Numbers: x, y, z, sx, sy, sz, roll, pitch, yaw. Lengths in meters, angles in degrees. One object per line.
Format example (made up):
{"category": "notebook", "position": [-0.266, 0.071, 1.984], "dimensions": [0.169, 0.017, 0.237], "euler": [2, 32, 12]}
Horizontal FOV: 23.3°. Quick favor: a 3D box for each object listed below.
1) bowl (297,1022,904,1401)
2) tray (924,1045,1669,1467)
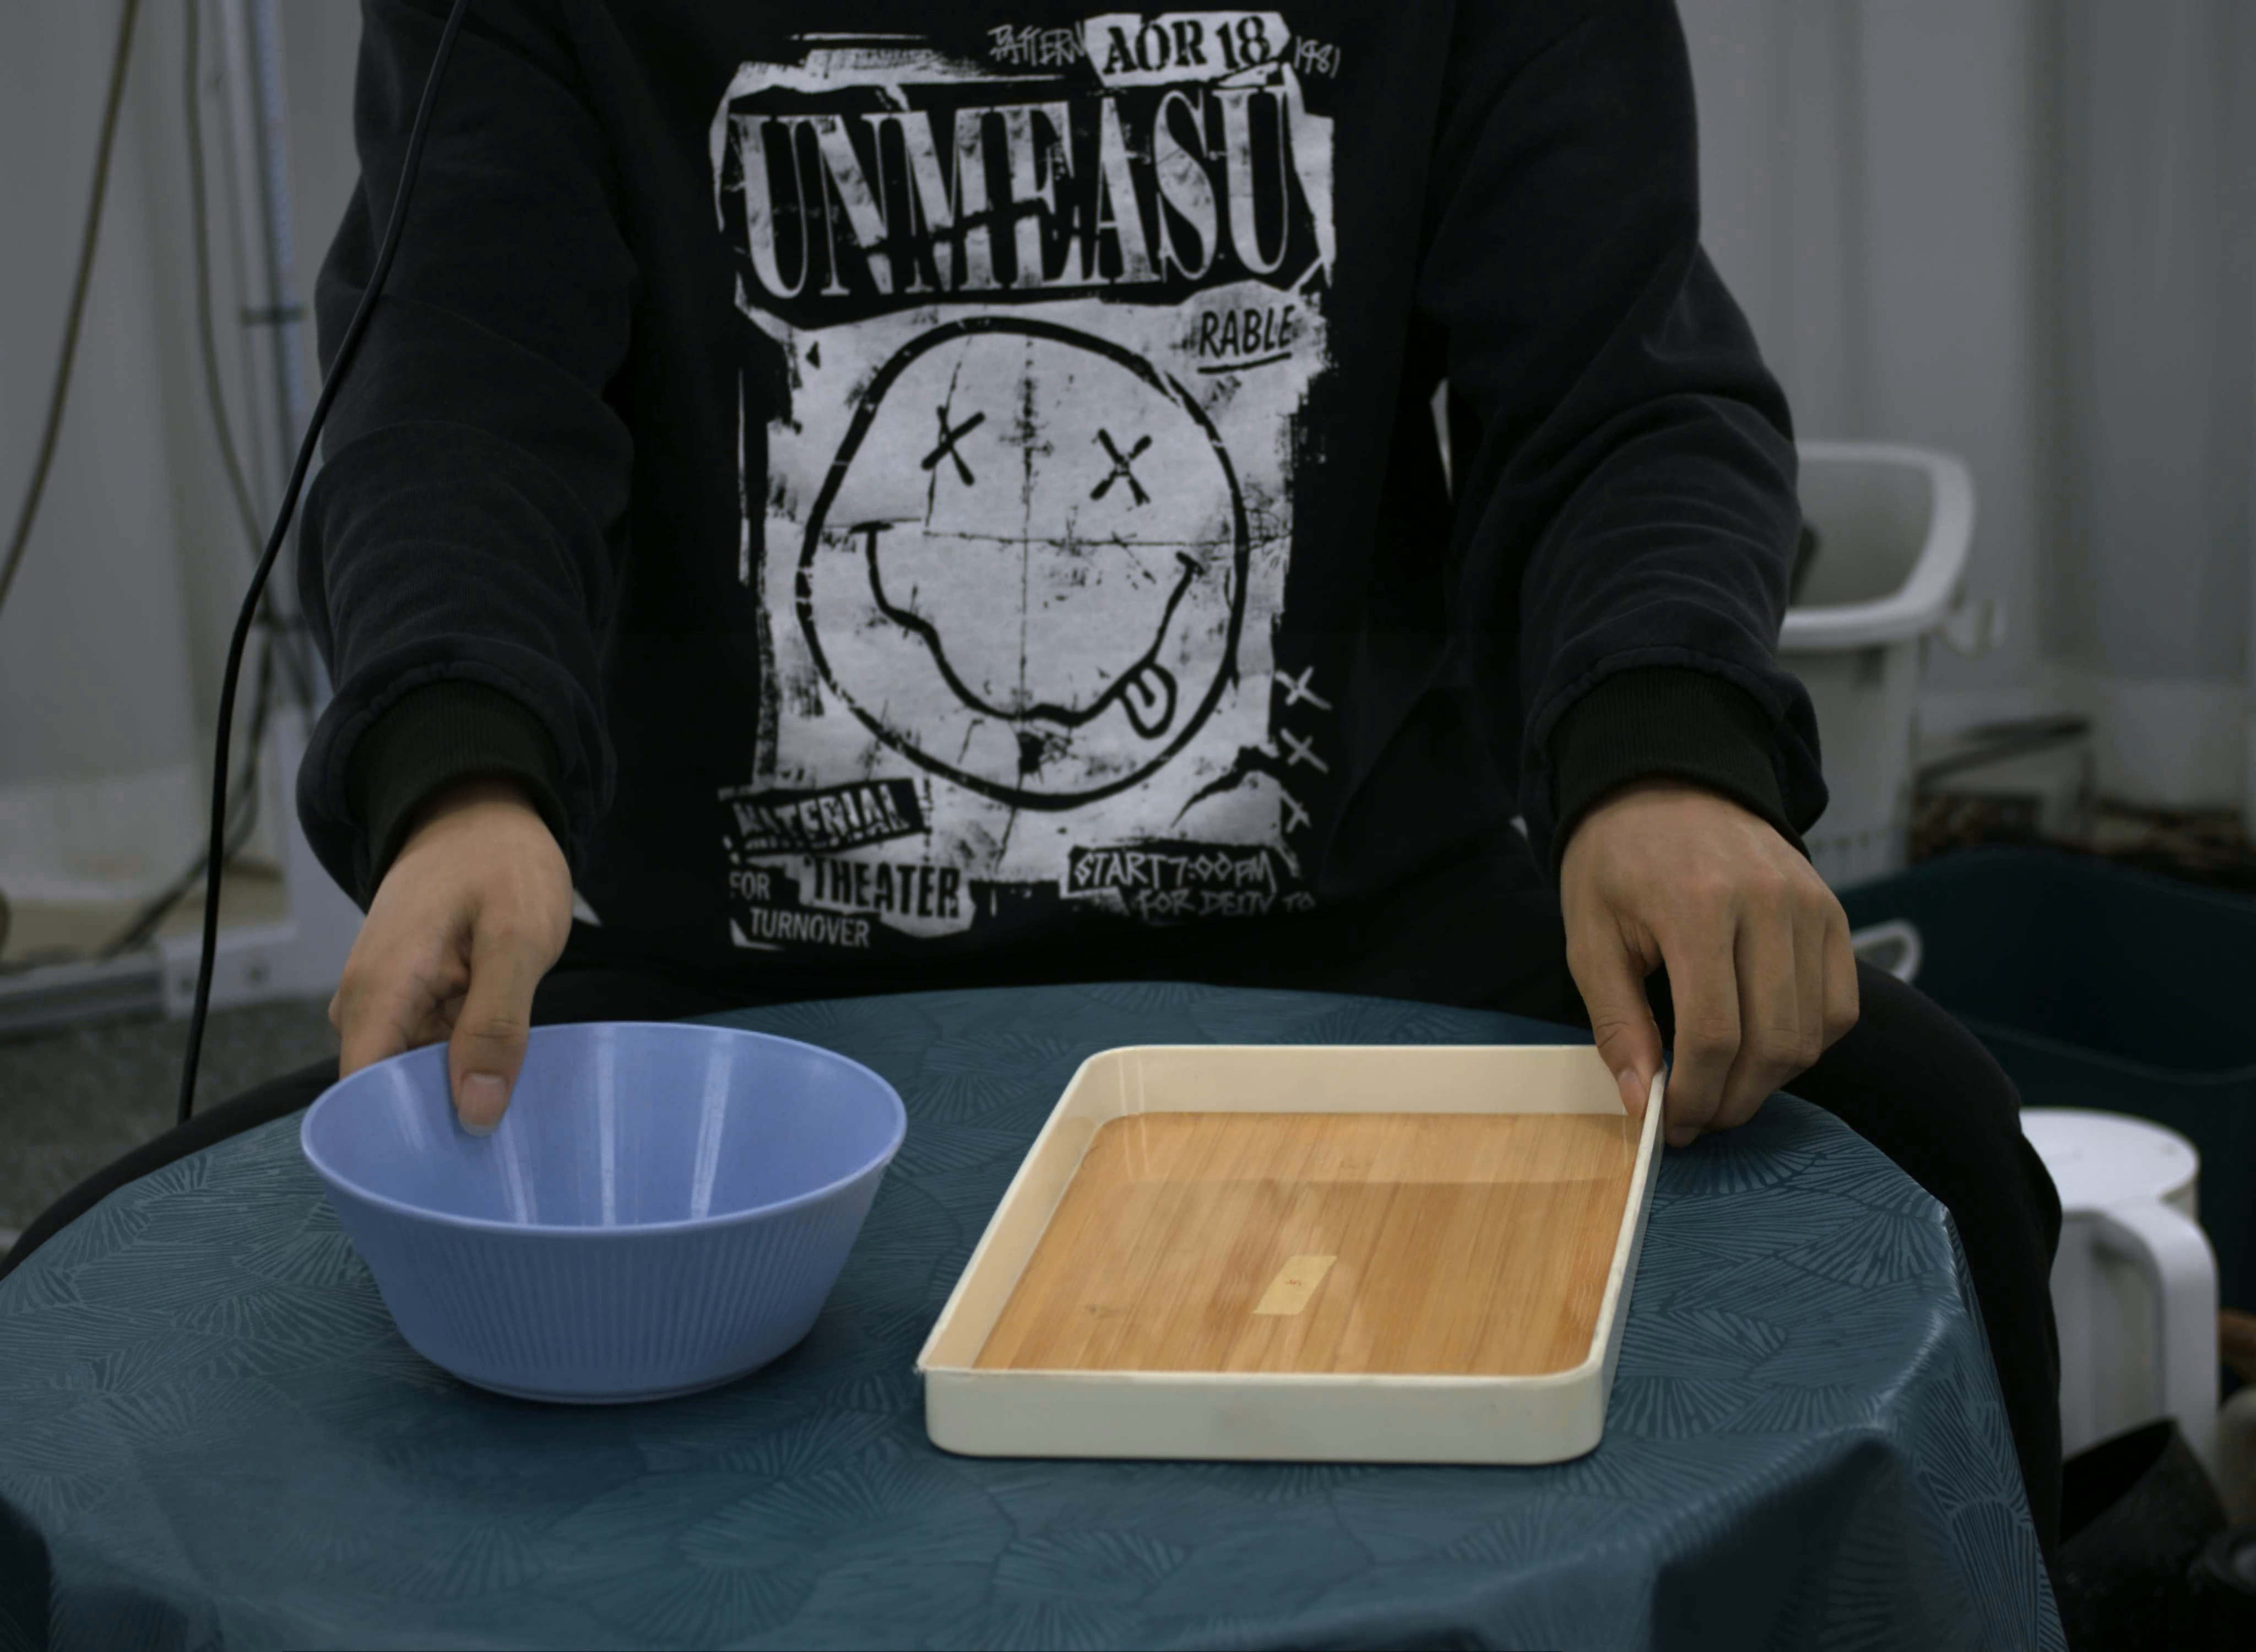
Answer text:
{"category": "bowl", "position": [-0.153, 0.115, 1.593], "dimensions": [0.175, 0.070, 0.177], "euler": [1, 17, 0]}
{"category": "tray", "position": [0.058, 0.123, 1.623], "dimensions": [0.191, 0.027, 0.302], "euler": [-1, 15, 10]}
